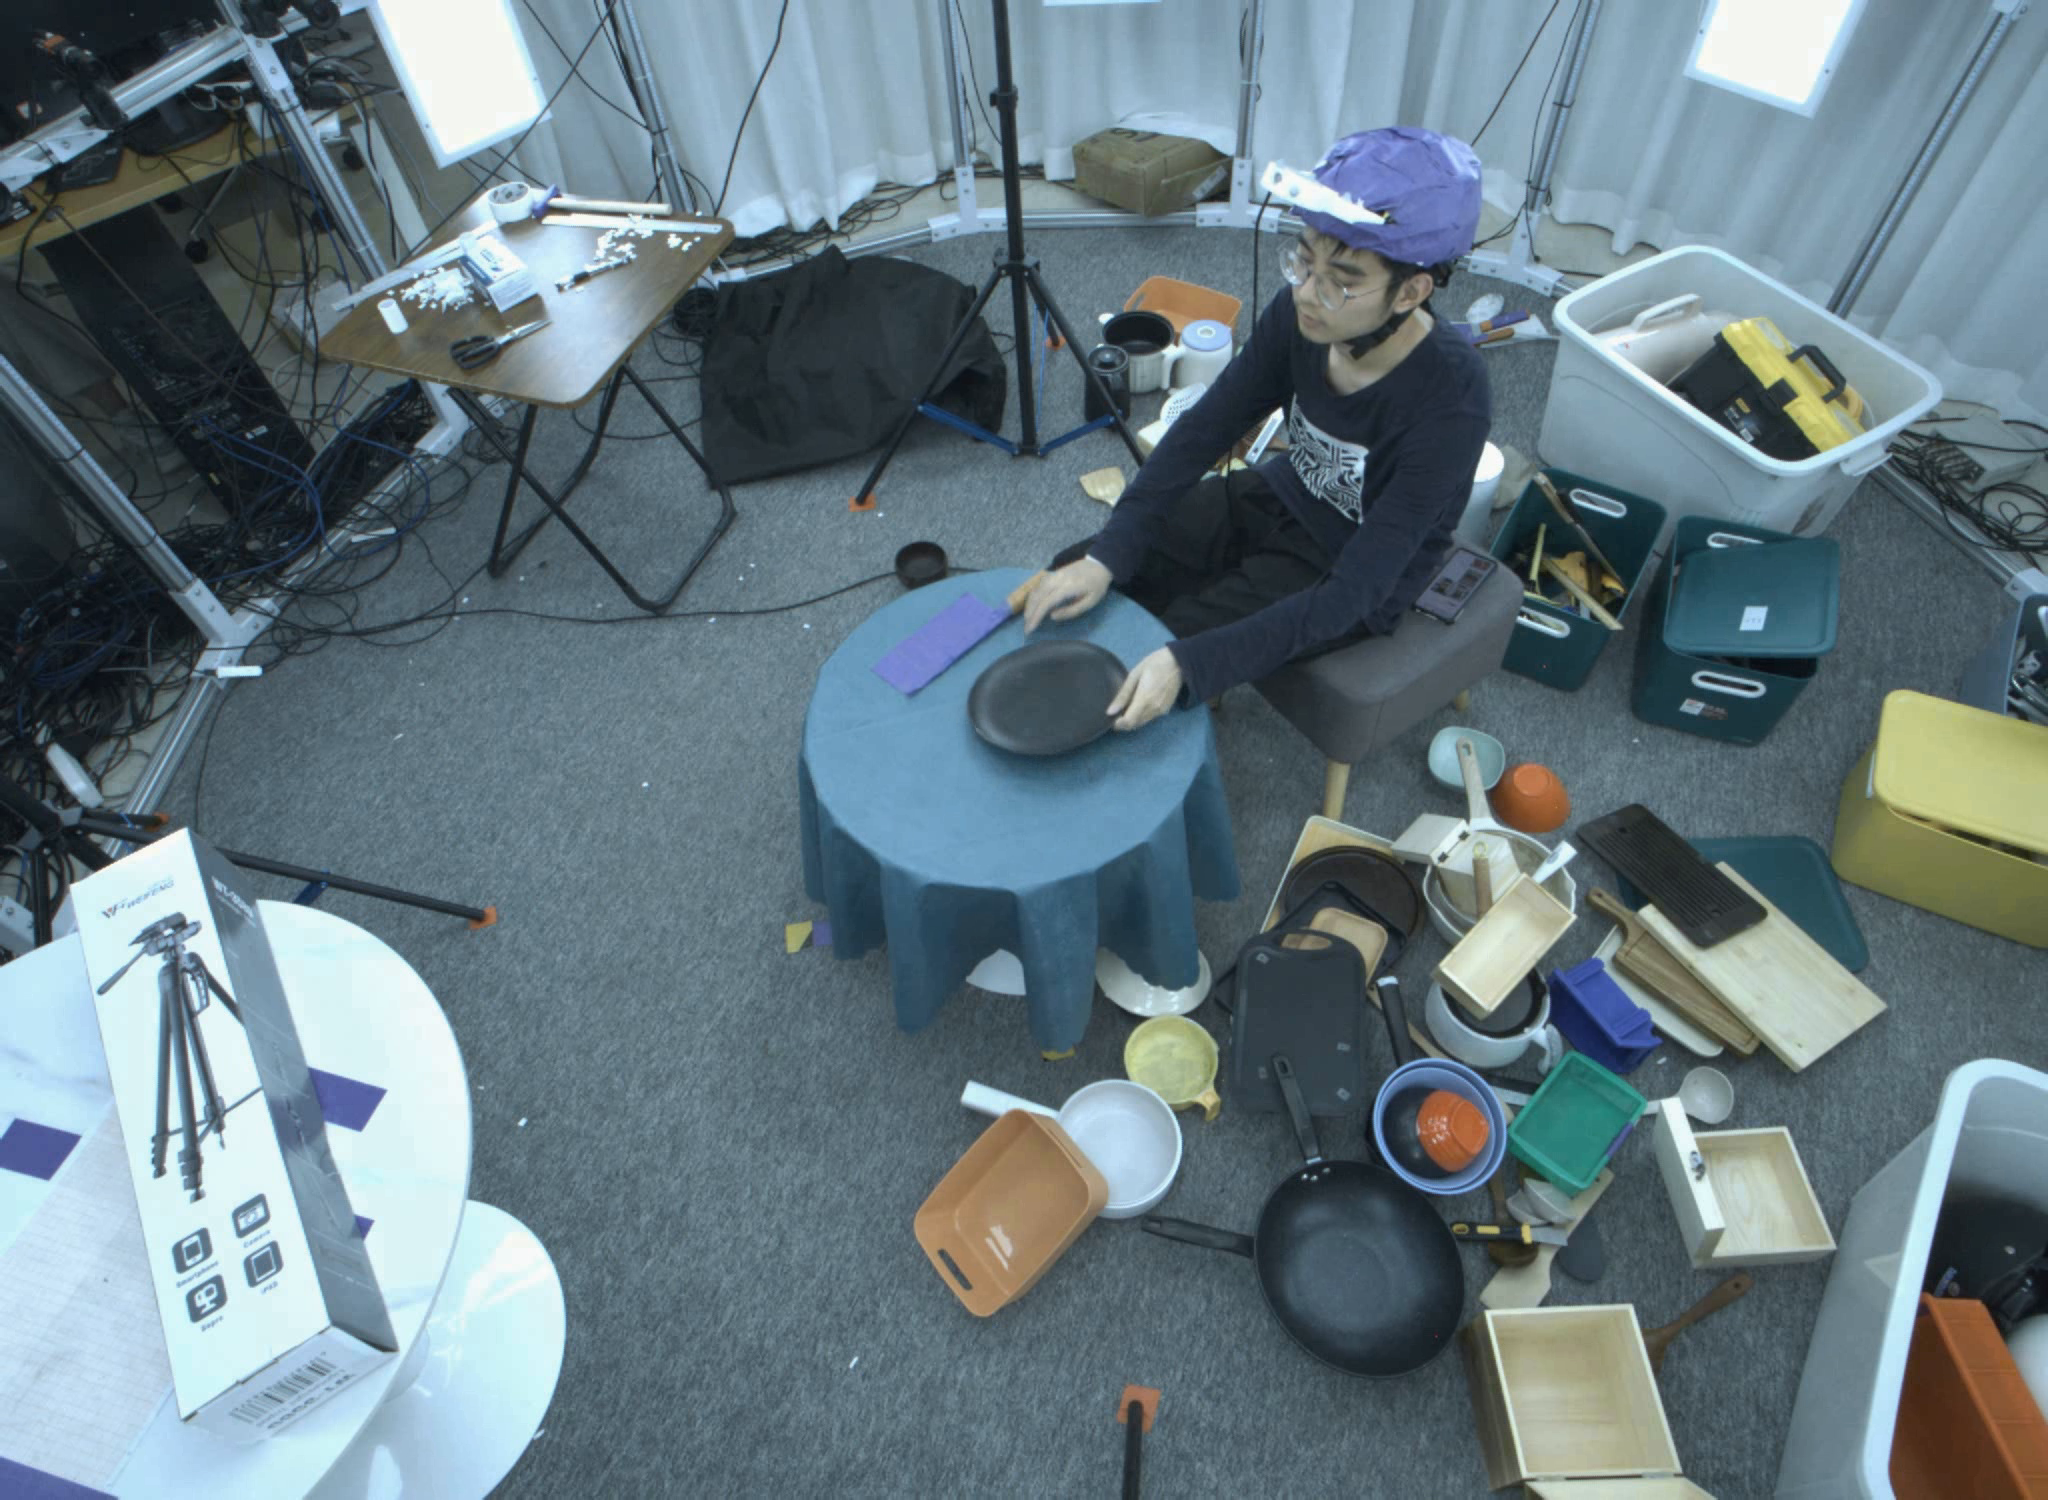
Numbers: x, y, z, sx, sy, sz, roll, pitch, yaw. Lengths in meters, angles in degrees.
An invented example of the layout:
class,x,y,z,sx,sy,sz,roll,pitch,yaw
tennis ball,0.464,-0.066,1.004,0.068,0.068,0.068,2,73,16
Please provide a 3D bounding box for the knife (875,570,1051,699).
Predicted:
class,x,y,z,sx,sy,sz,roll,pitch,yaw
knife,-0.097,-0.199,1.924,0.102,0.032,0.317,38,64,25

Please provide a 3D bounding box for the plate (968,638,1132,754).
class,x,y,z,sx,sy,sz,roll,pitch,yaw
plate,0.038,-0.076,1.815,0.243,0.024,0.242,-5,46,7
